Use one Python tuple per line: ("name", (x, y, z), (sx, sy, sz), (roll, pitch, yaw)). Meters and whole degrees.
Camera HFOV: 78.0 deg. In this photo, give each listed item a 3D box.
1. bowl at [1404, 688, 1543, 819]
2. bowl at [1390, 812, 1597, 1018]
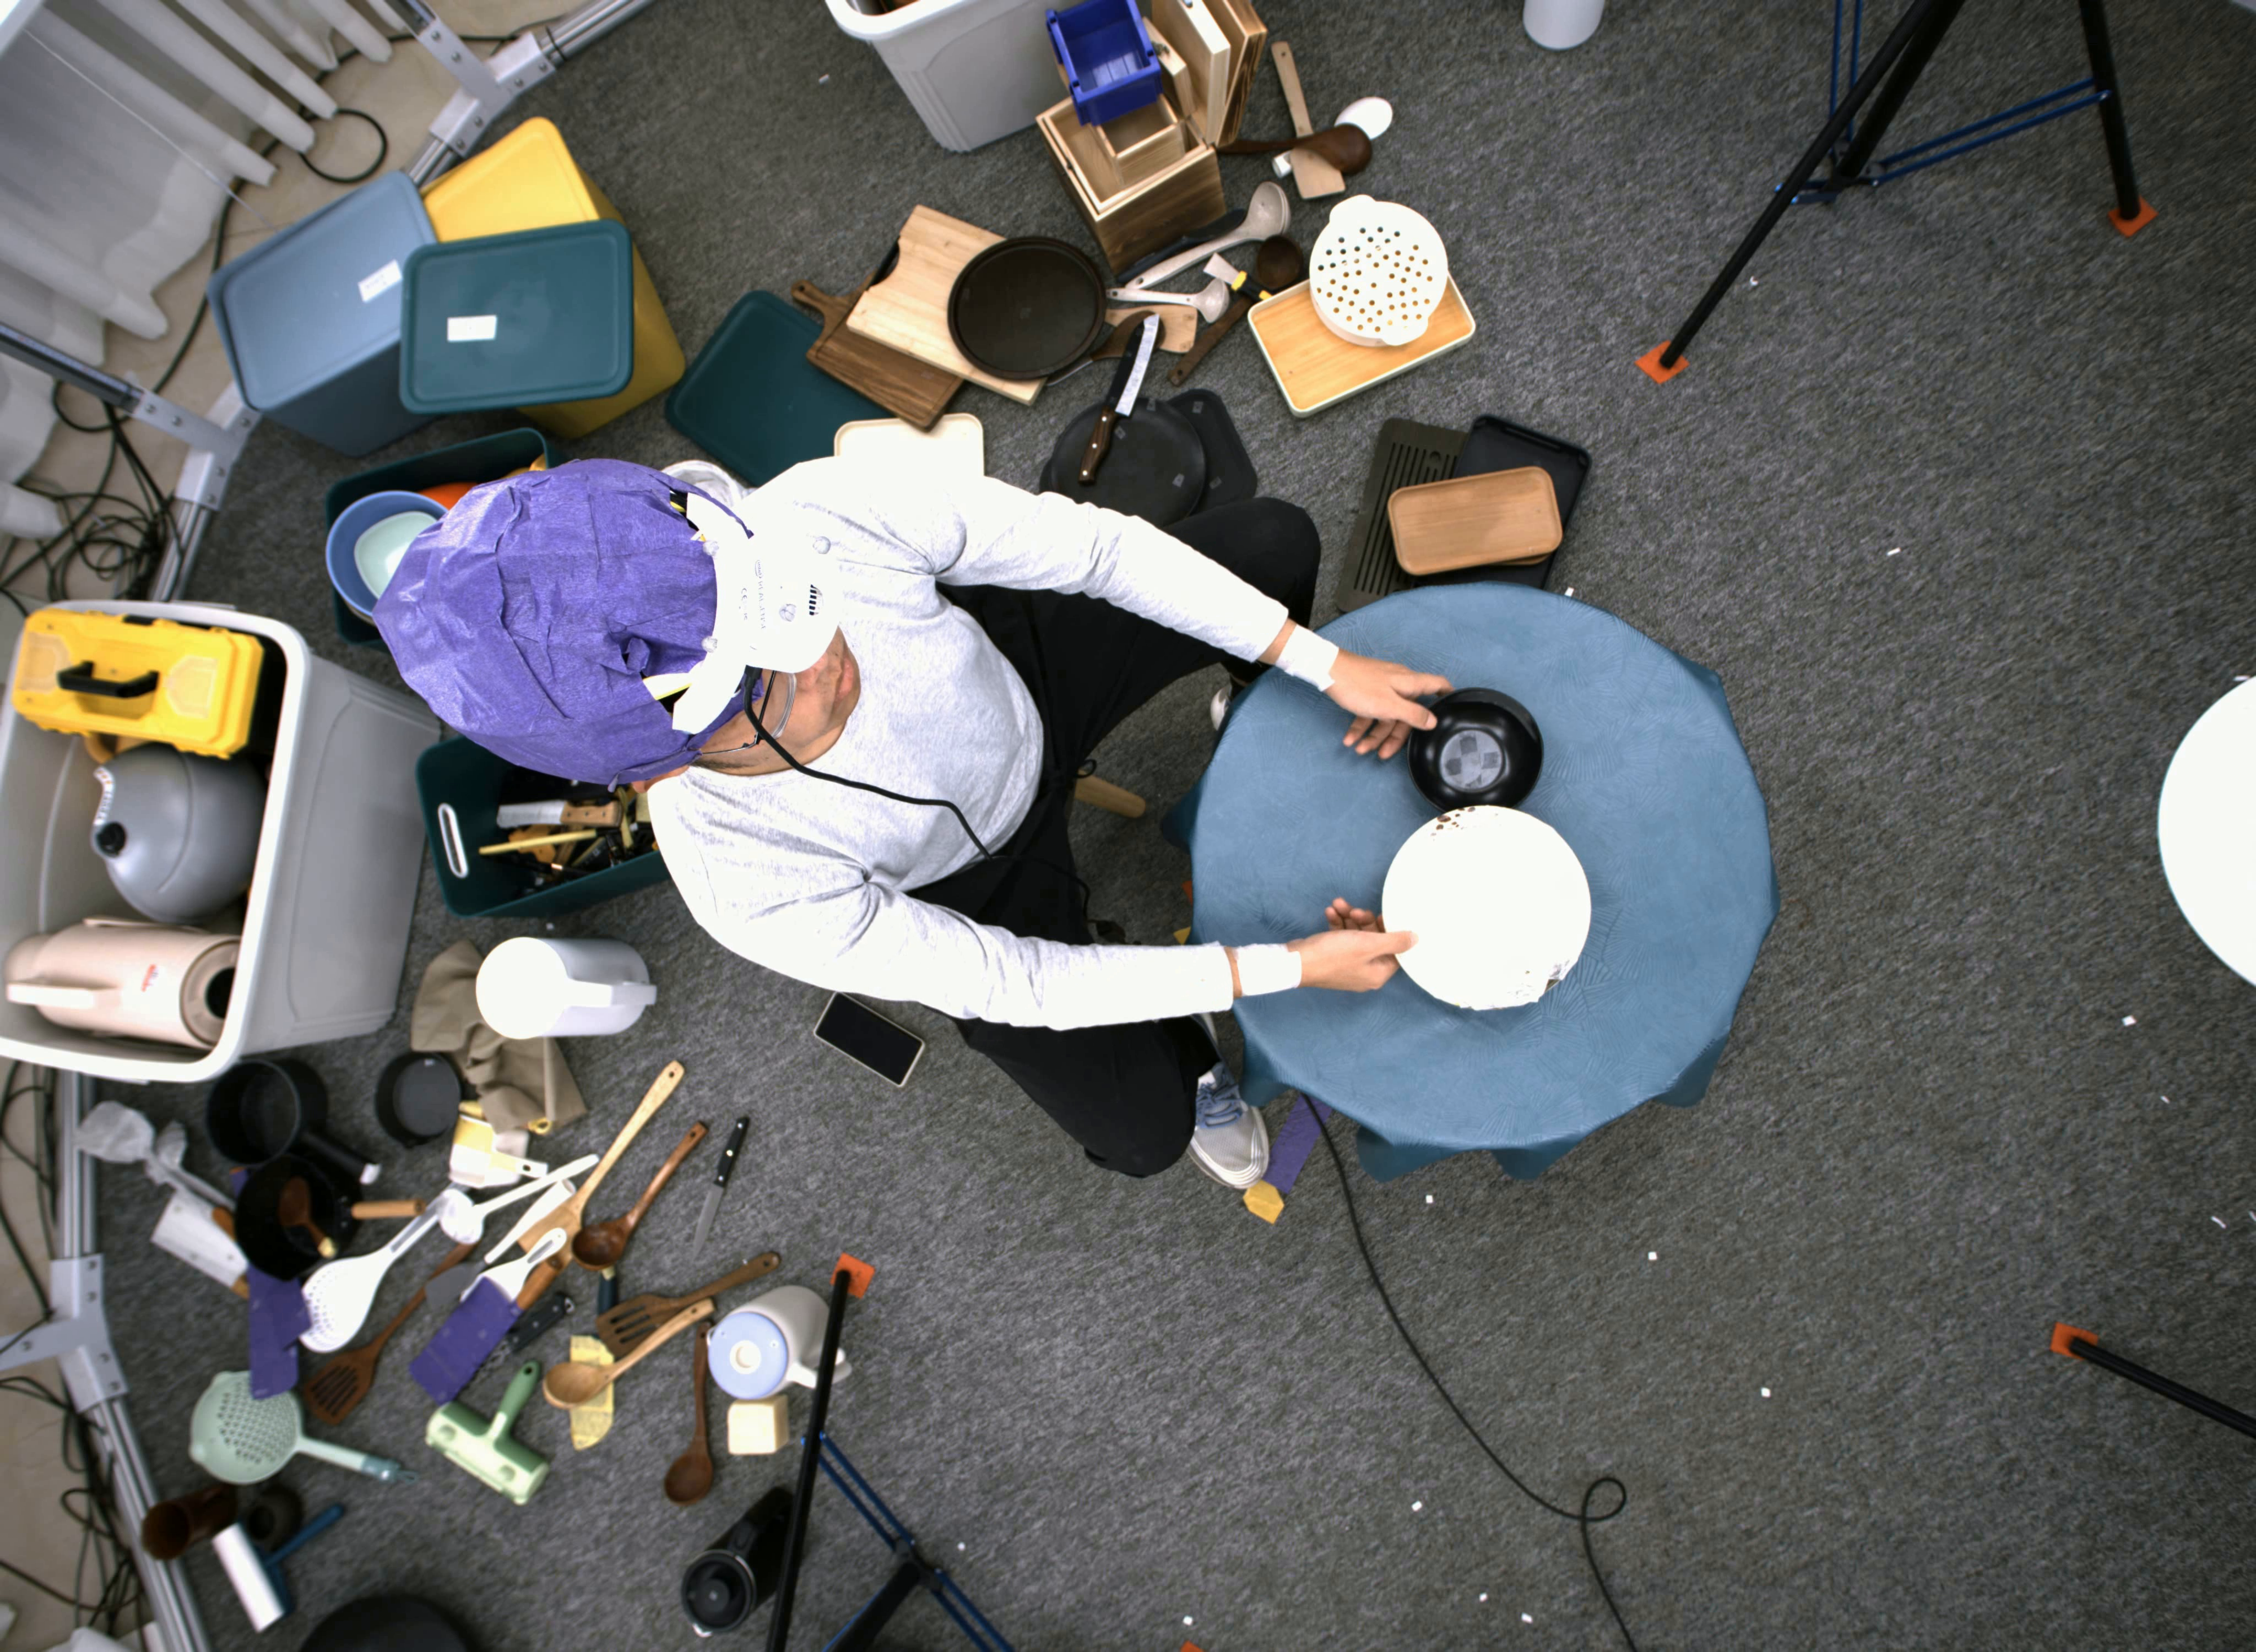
("bowl", (0.360, -0.073, 1.429), (0.141, 0.050, 0.139), (-2, 83, 15))
("bowl", (0.362, 0.089, 1.391), (0.204, 0.078, 0.203), (0, 85, 4))
